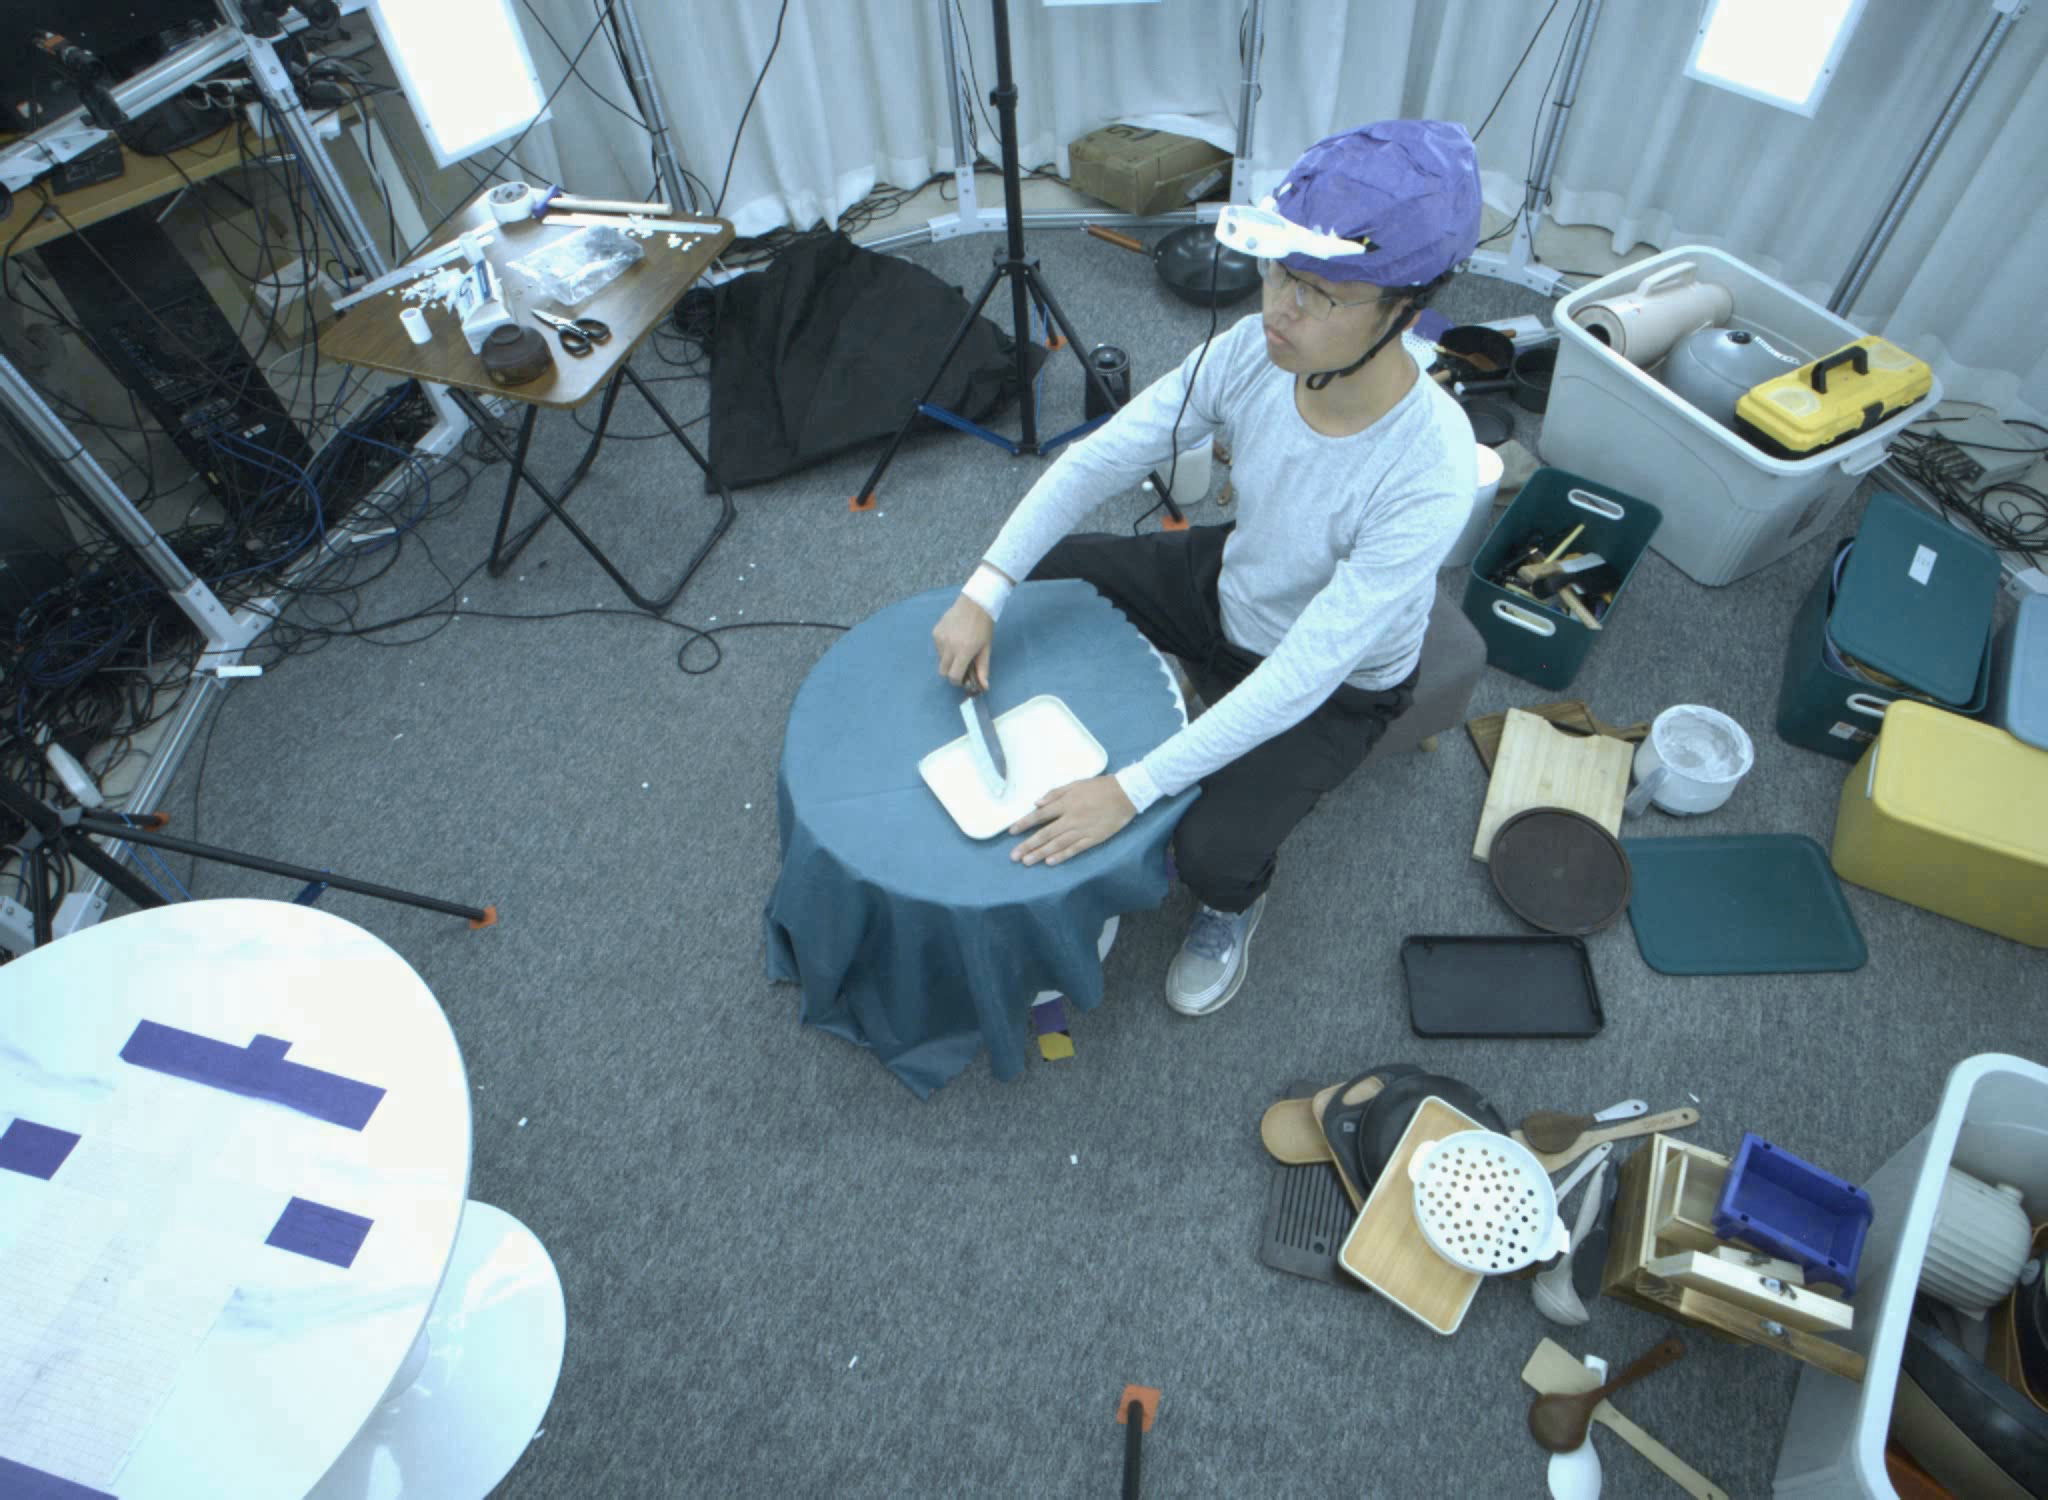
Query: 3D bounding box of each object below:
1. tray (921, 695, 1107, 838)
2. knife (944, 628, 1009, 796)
[{"bbox_3d":[-0.015,0.022,1.769,0.241,0.017,0.168,-28,59,-18],"label":"tray"},{"bbox_3d":[-0.069,-0.058,1.787,0.050,0.020,0.285,-33,60,28],"label":"knife"}]
